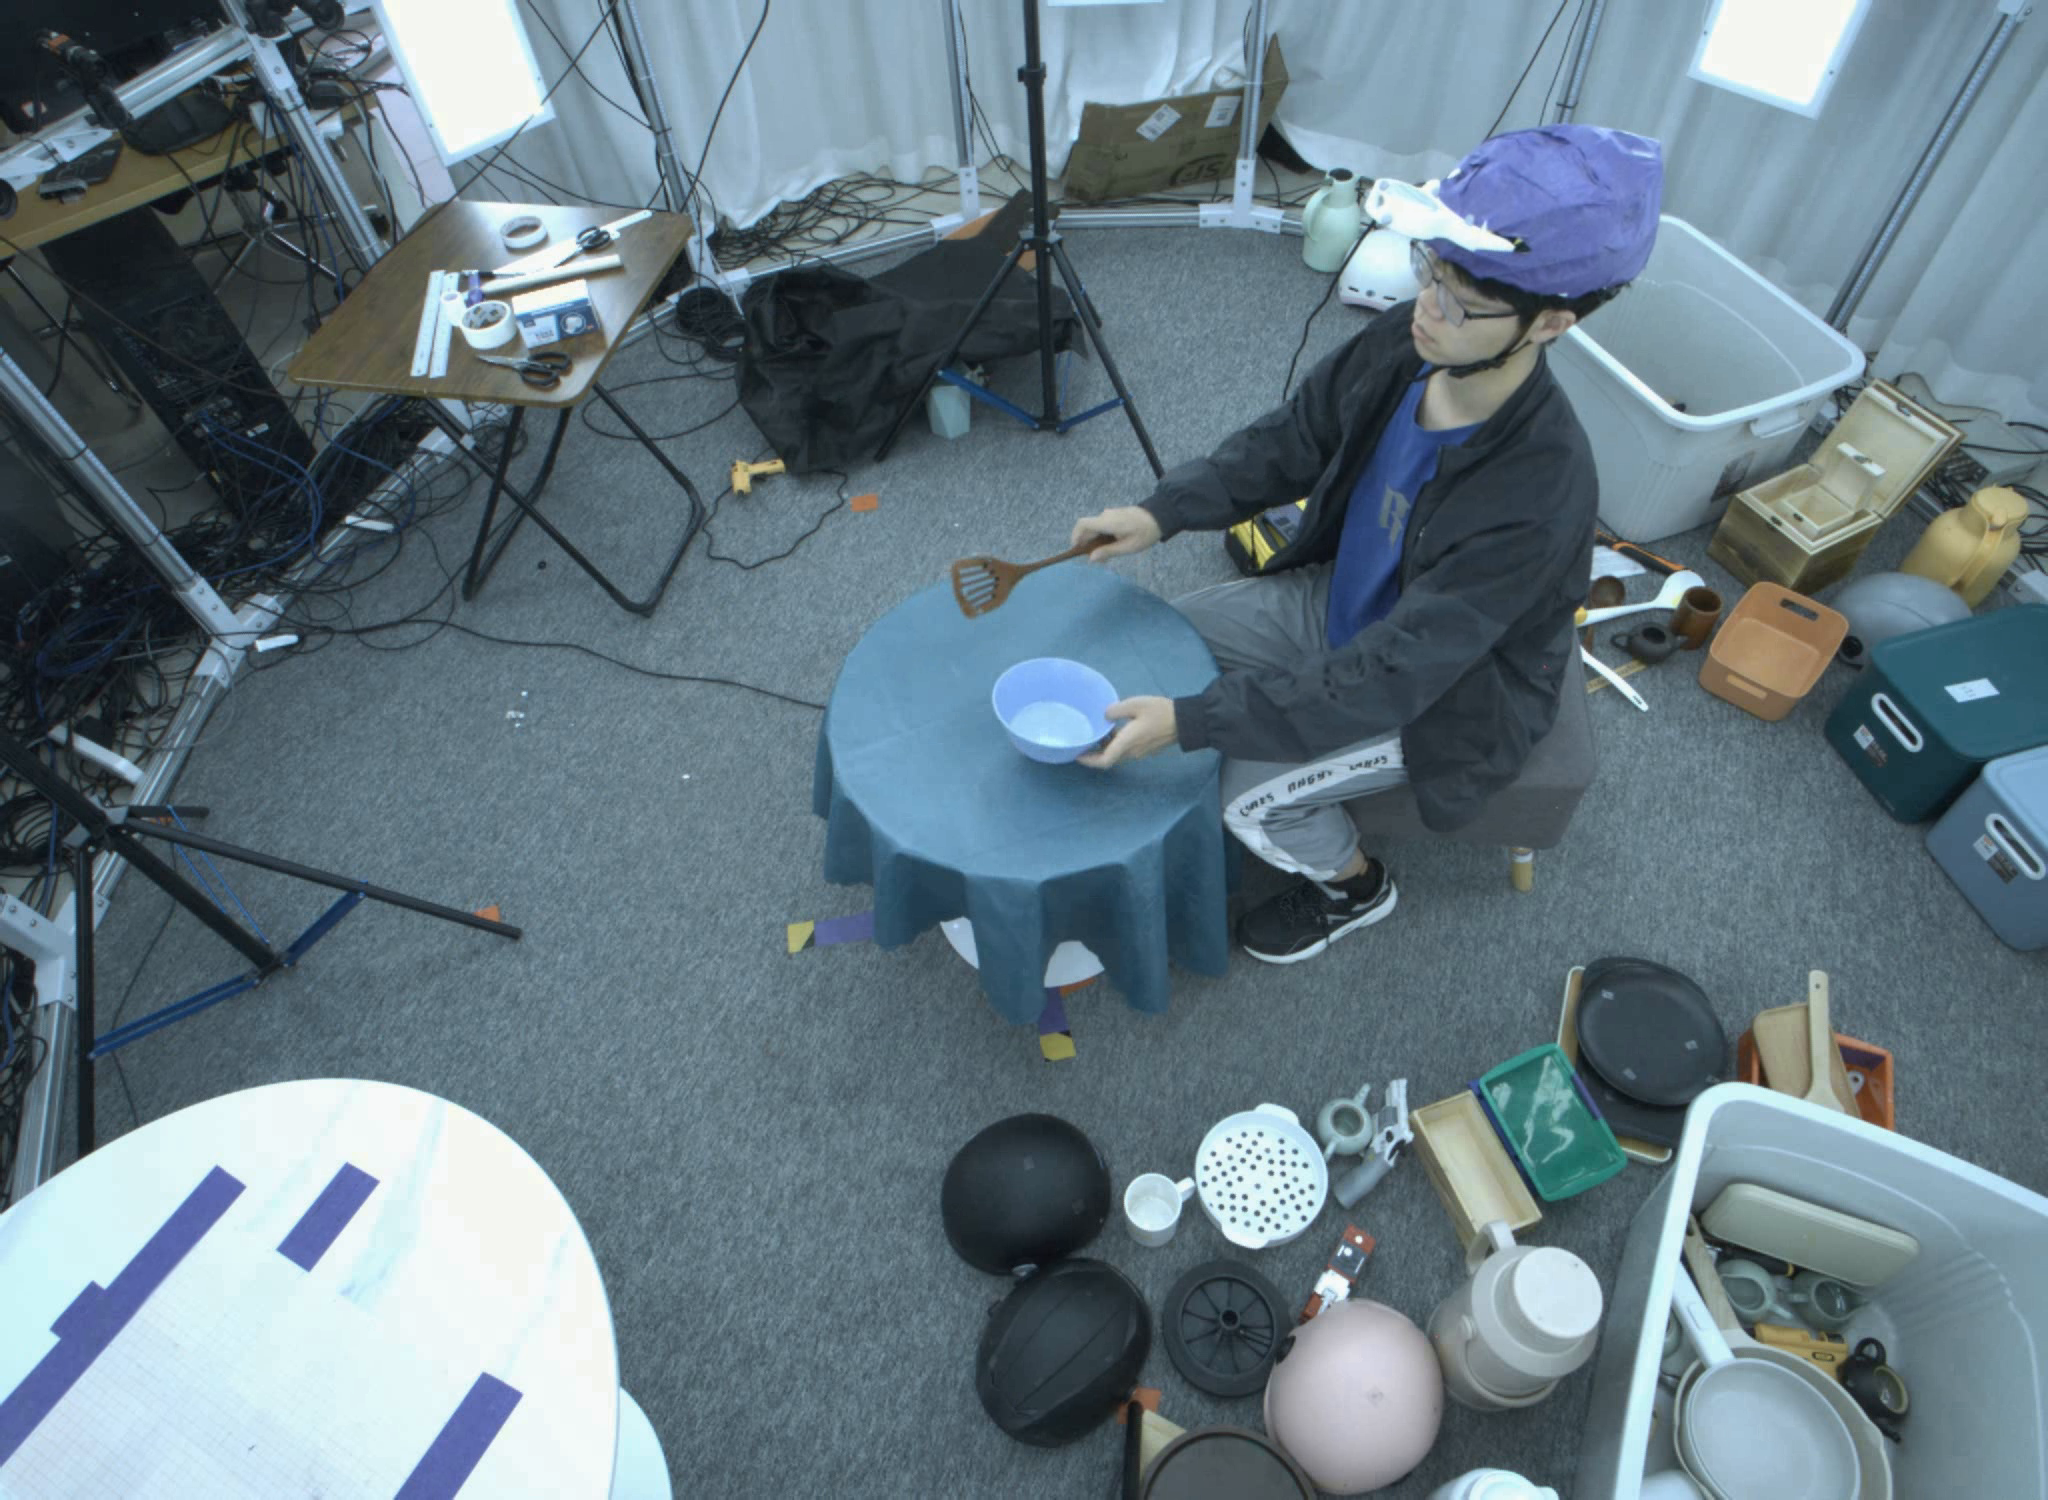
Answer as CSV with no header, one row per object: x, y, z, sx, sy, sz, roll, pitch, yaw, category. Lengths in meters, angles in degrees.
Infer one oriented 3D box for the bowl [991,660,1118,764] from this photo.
0.039,-0.044,1.711,0.177,0.071,0.174,6,46,-5,bowl

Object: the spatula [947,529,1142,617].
0.037,-0.279,1.812,0.392,0.086,0.023,-23,11,-37,spatula
